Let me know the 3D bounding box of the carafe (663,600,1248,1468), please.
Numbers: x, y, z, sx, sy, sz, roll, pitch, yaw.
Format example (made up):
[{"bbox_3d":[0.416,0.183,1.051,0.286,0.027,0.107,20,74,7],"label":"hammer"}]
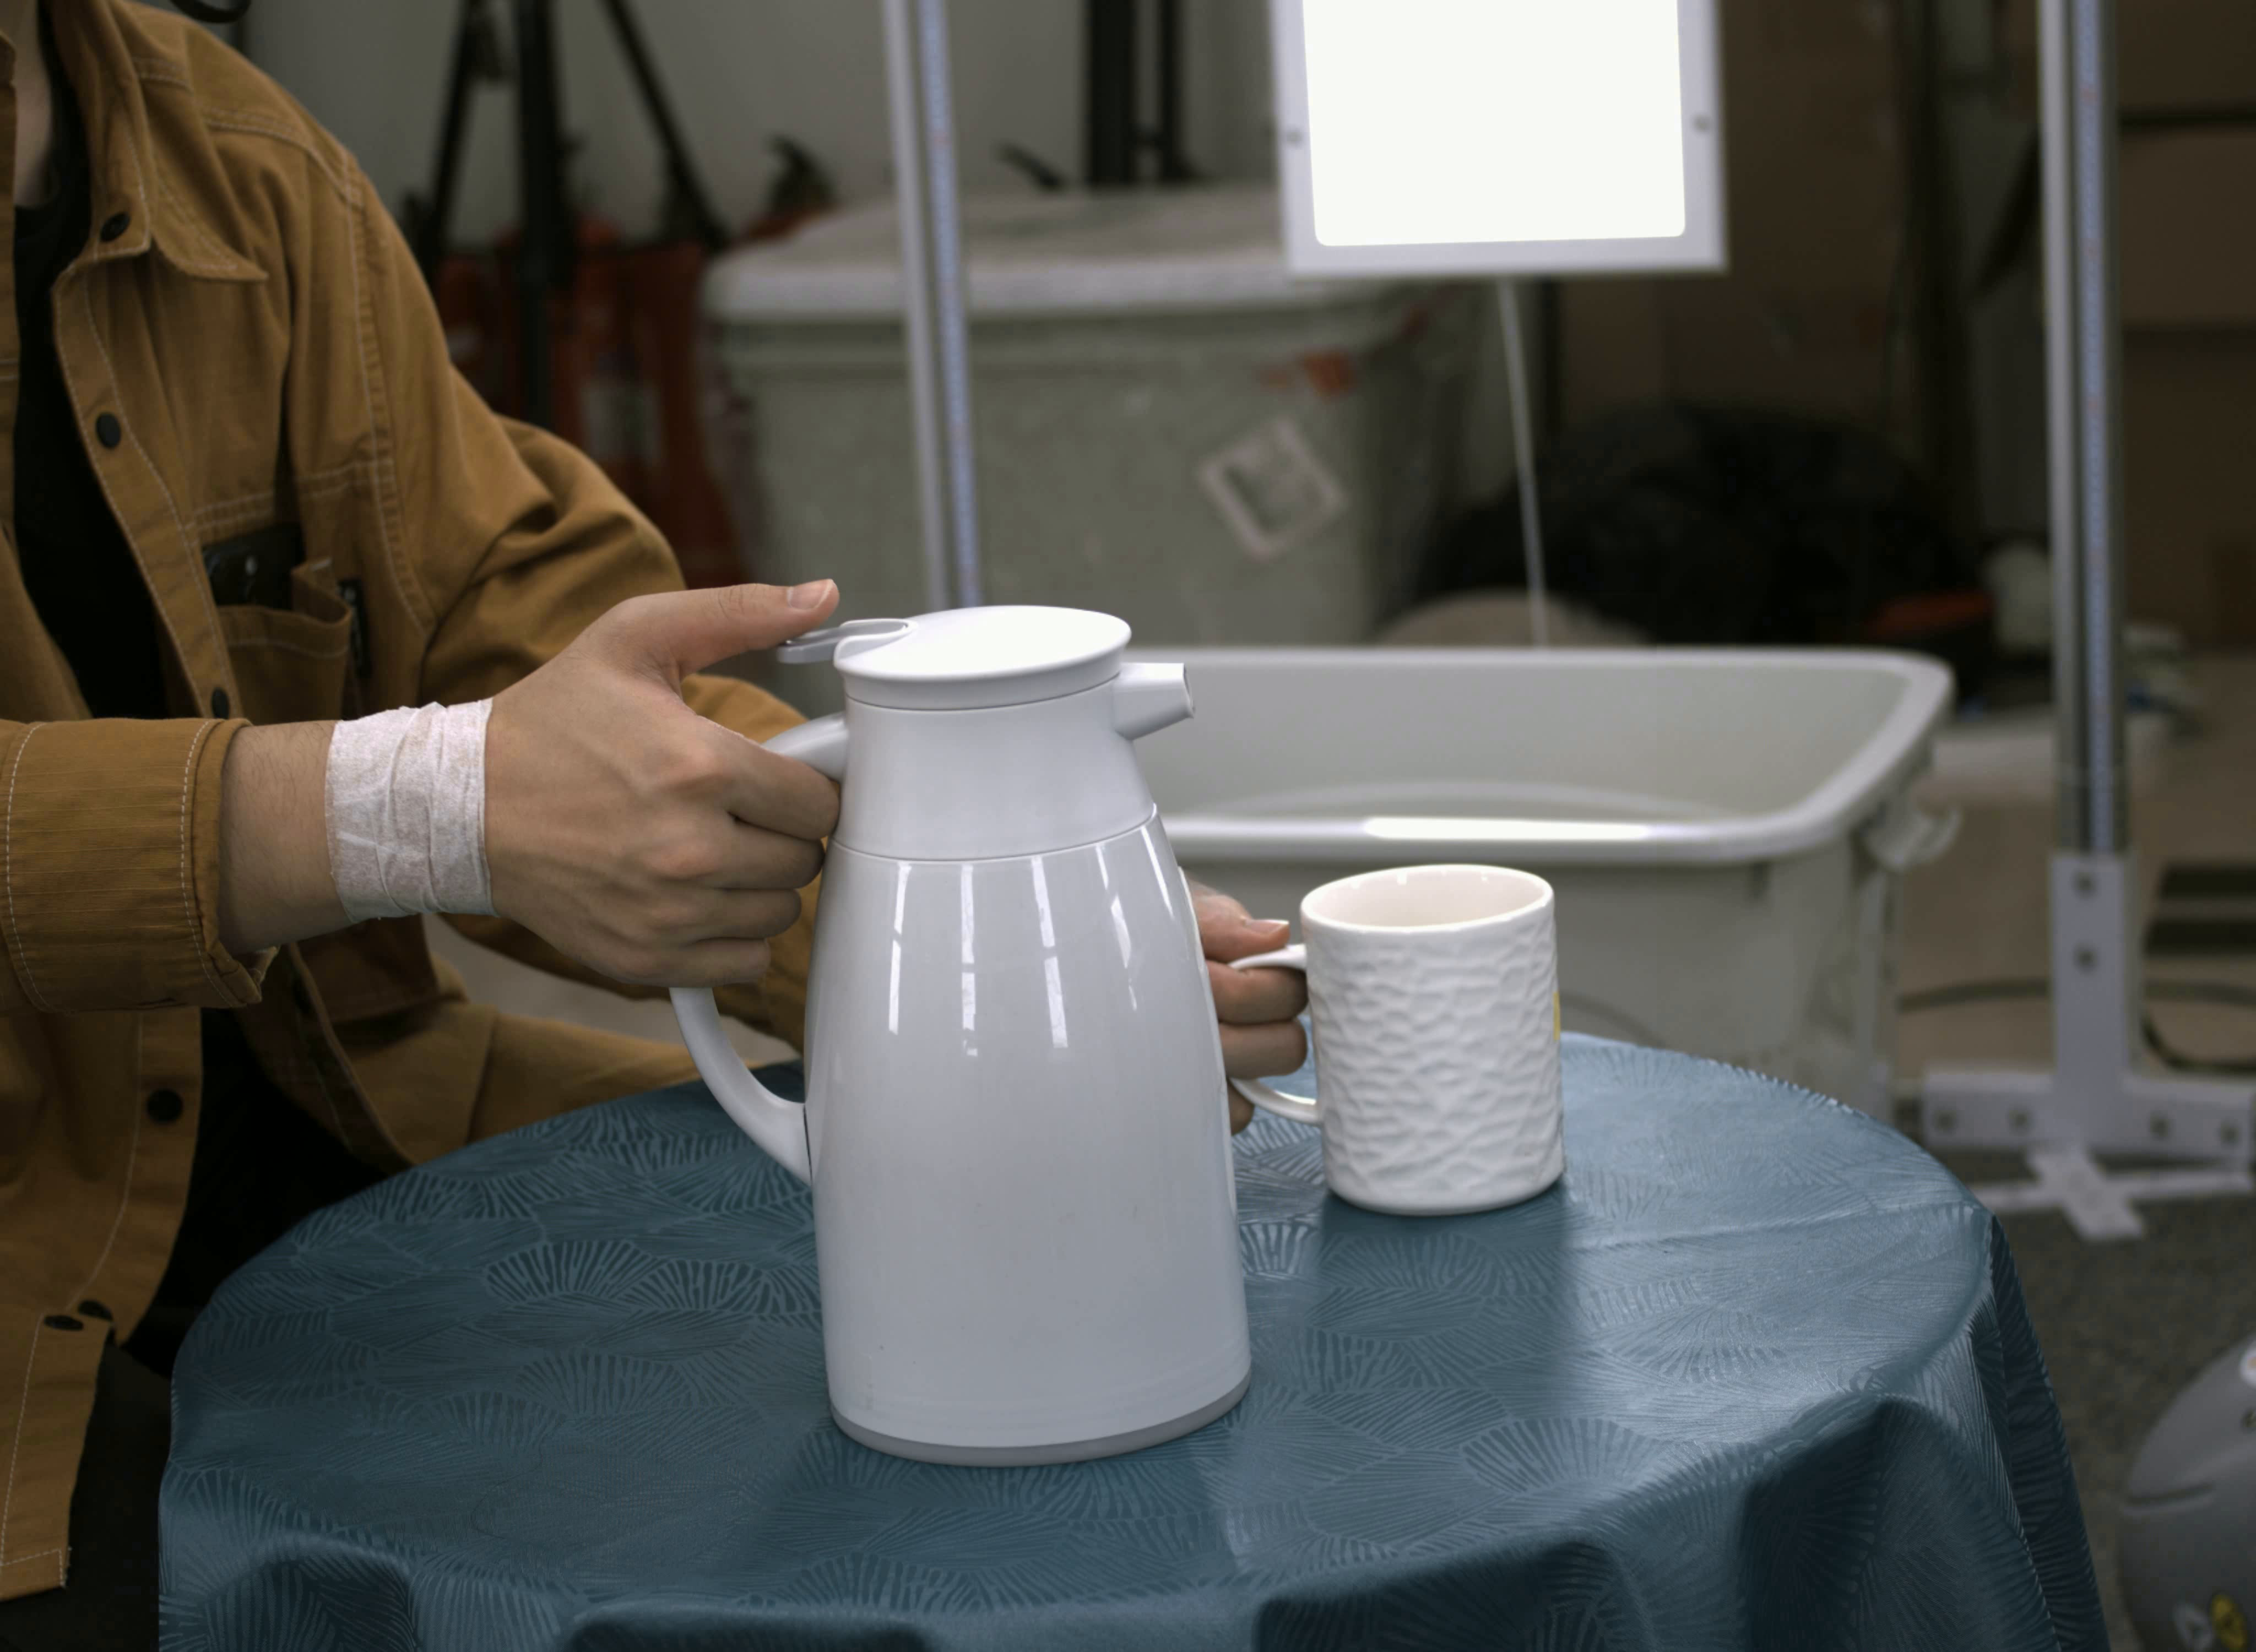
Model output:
[{"bbox_3d":[-0.056,0.058,1.678,0.167,0.249,0.132,-4,14,2],"label":"carafe"}]

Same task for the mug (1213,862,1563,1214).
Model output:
[{"bbox_3d":[0.089,0.072,1.869,0.119,0.102,0.084,-2,14,10],"label":"mug"}]
